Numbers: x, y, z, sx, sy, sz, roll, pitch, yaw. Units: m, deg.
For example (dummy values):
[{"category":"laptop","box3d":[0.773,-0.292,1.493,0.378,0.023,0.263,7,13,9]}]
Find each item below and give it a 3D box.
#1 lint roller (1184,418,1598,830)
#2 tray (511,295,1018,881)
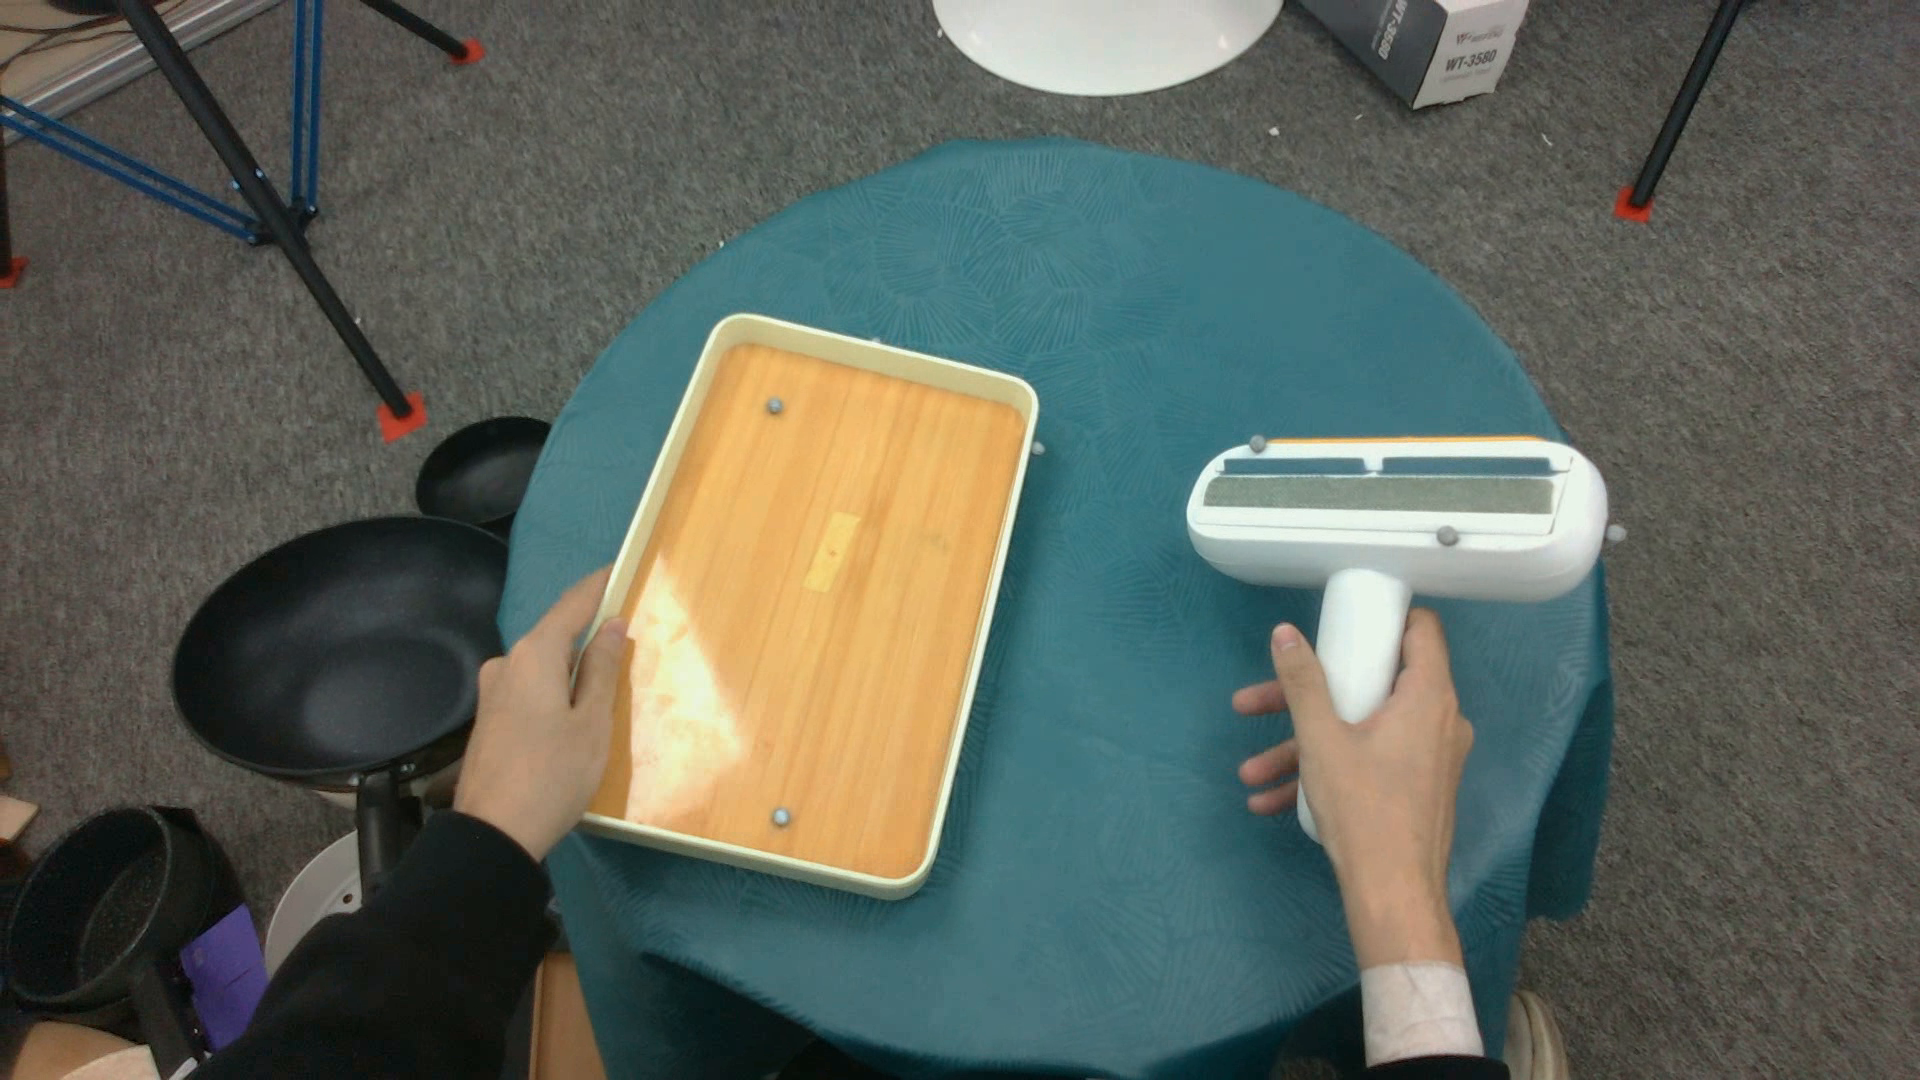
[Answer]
[{"category":"lint roller","box3d":[0.178,0.036,0.636,0.192,0.074,0.193,9,69,36]},{"category":"tray","box3d":[-0.089,0.011,0.711,0.191,0.027,0.301,13,60,1]}]
